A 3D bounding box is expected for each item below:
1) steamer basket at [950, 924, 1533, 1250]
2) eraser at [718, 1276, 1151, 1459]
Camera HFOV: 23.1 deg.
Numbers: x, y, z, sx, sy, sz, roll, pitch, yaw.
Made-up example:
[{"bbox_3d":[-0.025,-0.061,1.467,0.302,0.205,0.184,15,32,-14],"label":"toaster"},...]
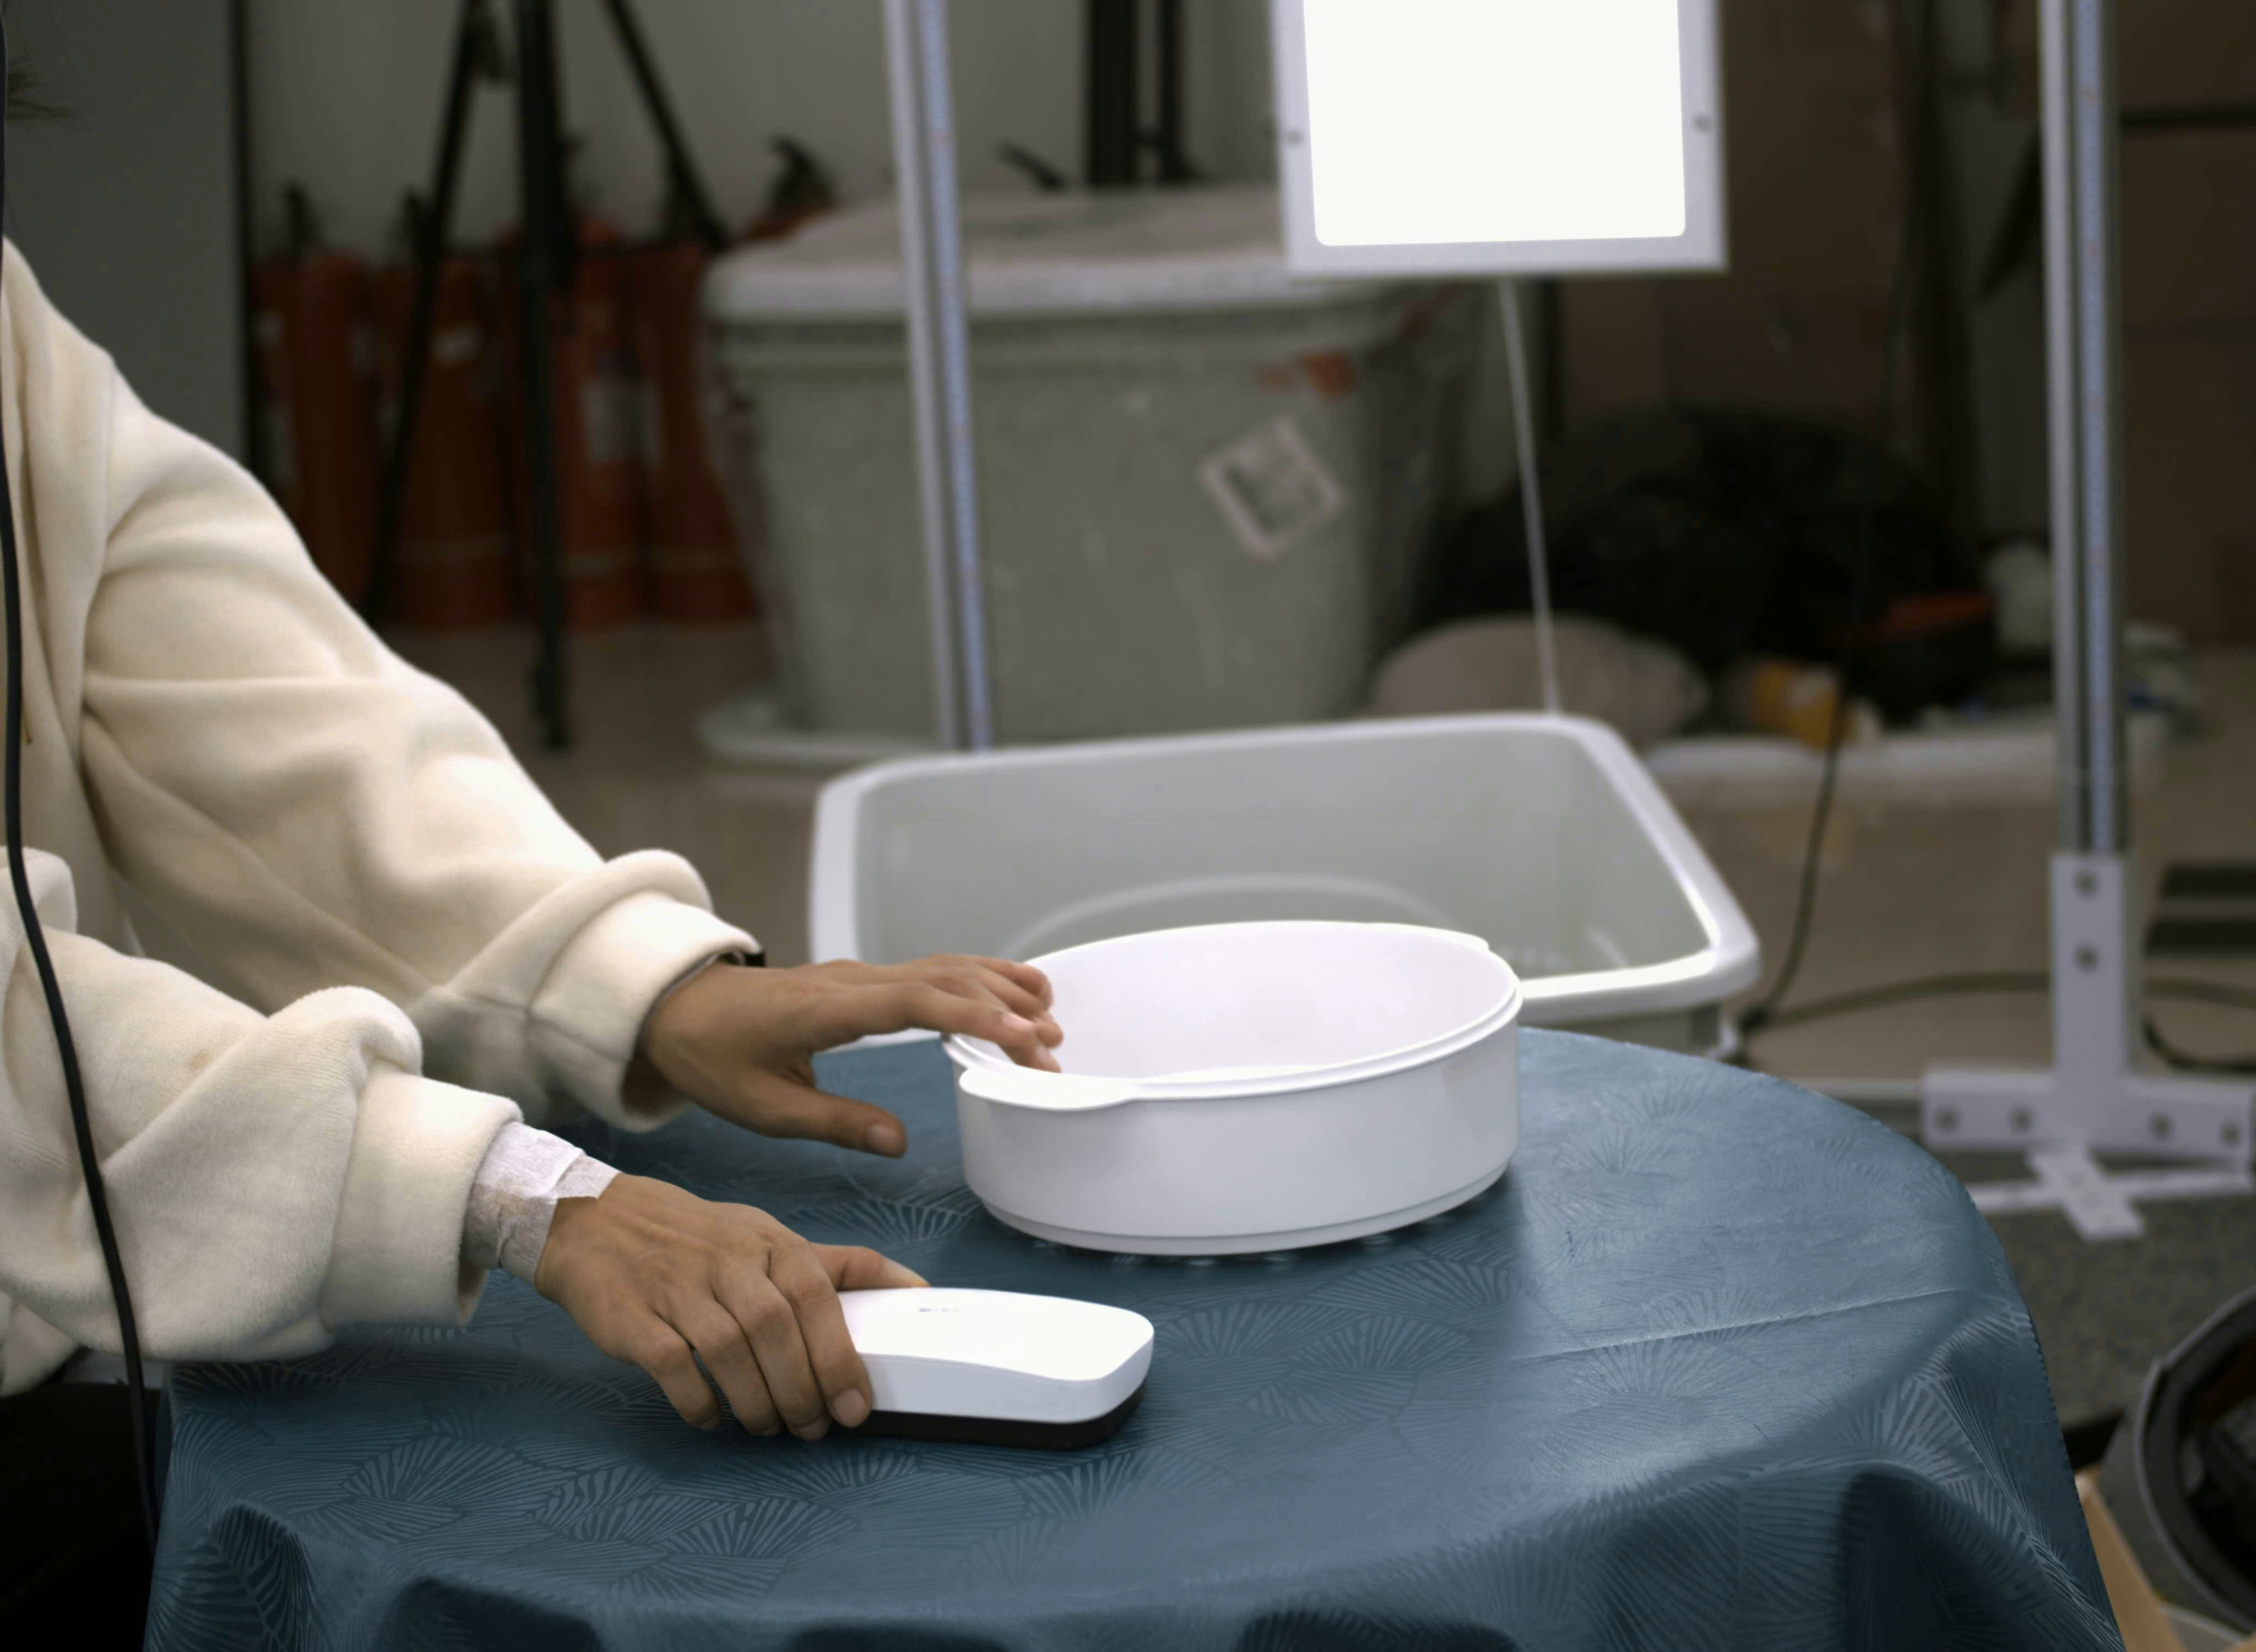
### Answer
[{"bbox_3d":[0.041,0.090,1.893,0.206,0.069,0.225,7,17,42],"label":"steamer basket"},{"bbox_3d":[-0.059,0.166,1.695,0.133,0.034,0.062,3,16,26],"label":"eraser"}]
